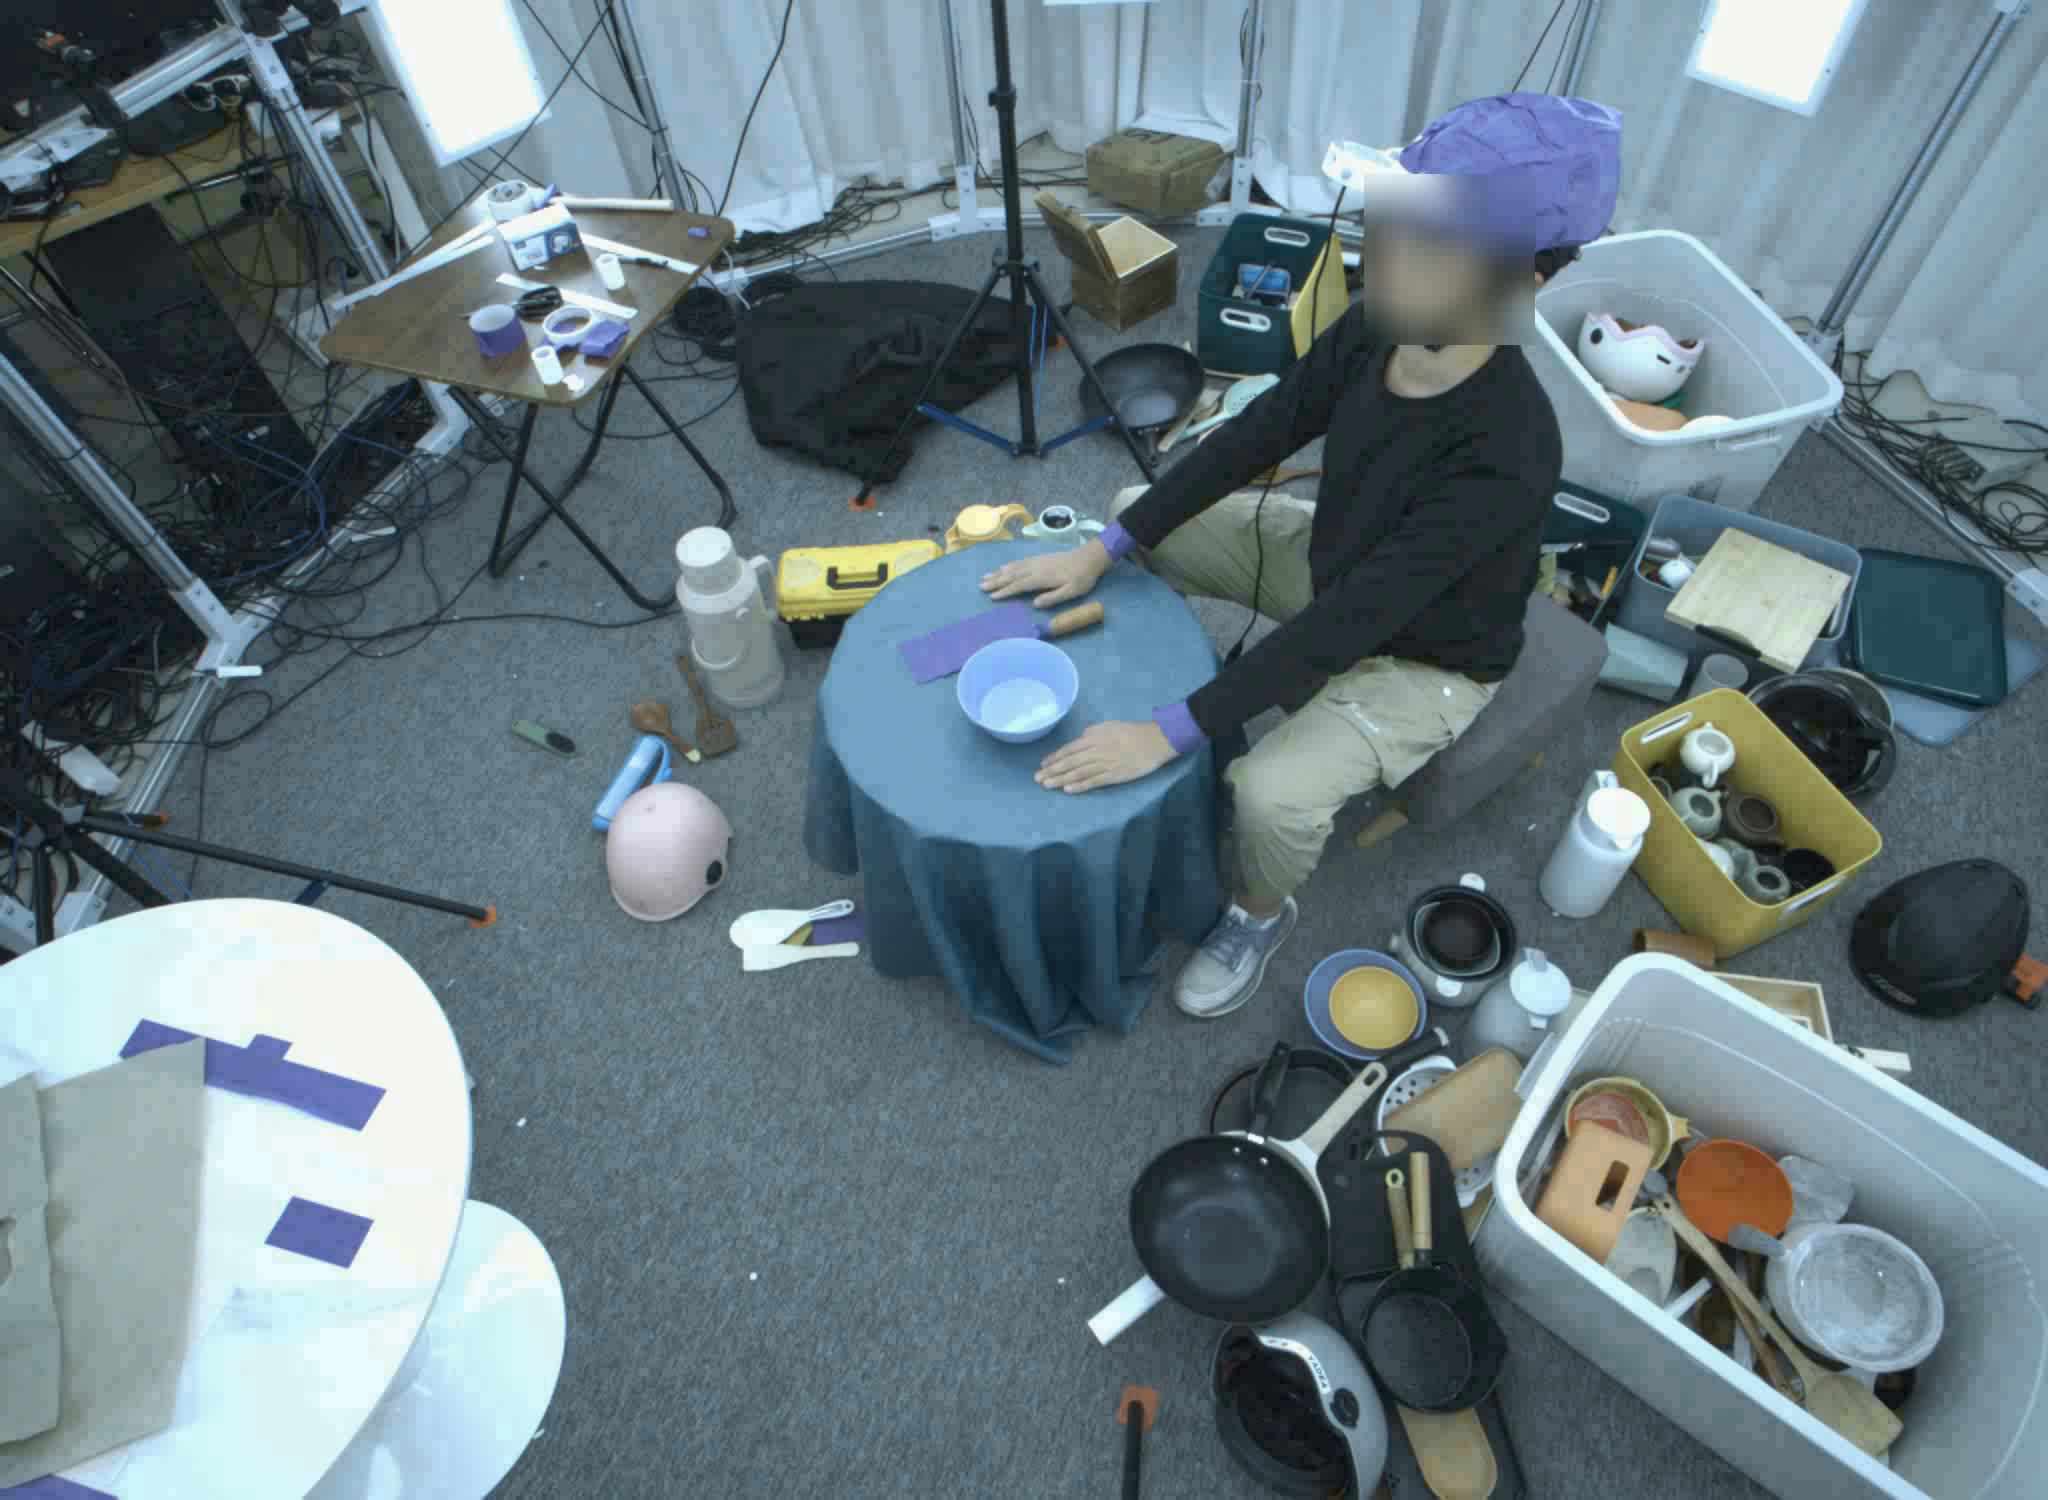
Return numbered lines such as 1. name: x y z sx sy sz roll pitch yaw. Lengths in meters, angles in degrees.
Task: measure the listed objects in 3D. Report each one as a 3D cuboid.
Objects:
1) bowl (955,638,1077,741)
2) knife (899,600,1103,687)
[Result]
1. bowl: -0.010 -0.078 1.795 0.176 0.071 0.174 0 55 1
2. knife: -0.038 -0.188 1.903 0.317 0.032 0.102 -21 57 -12
